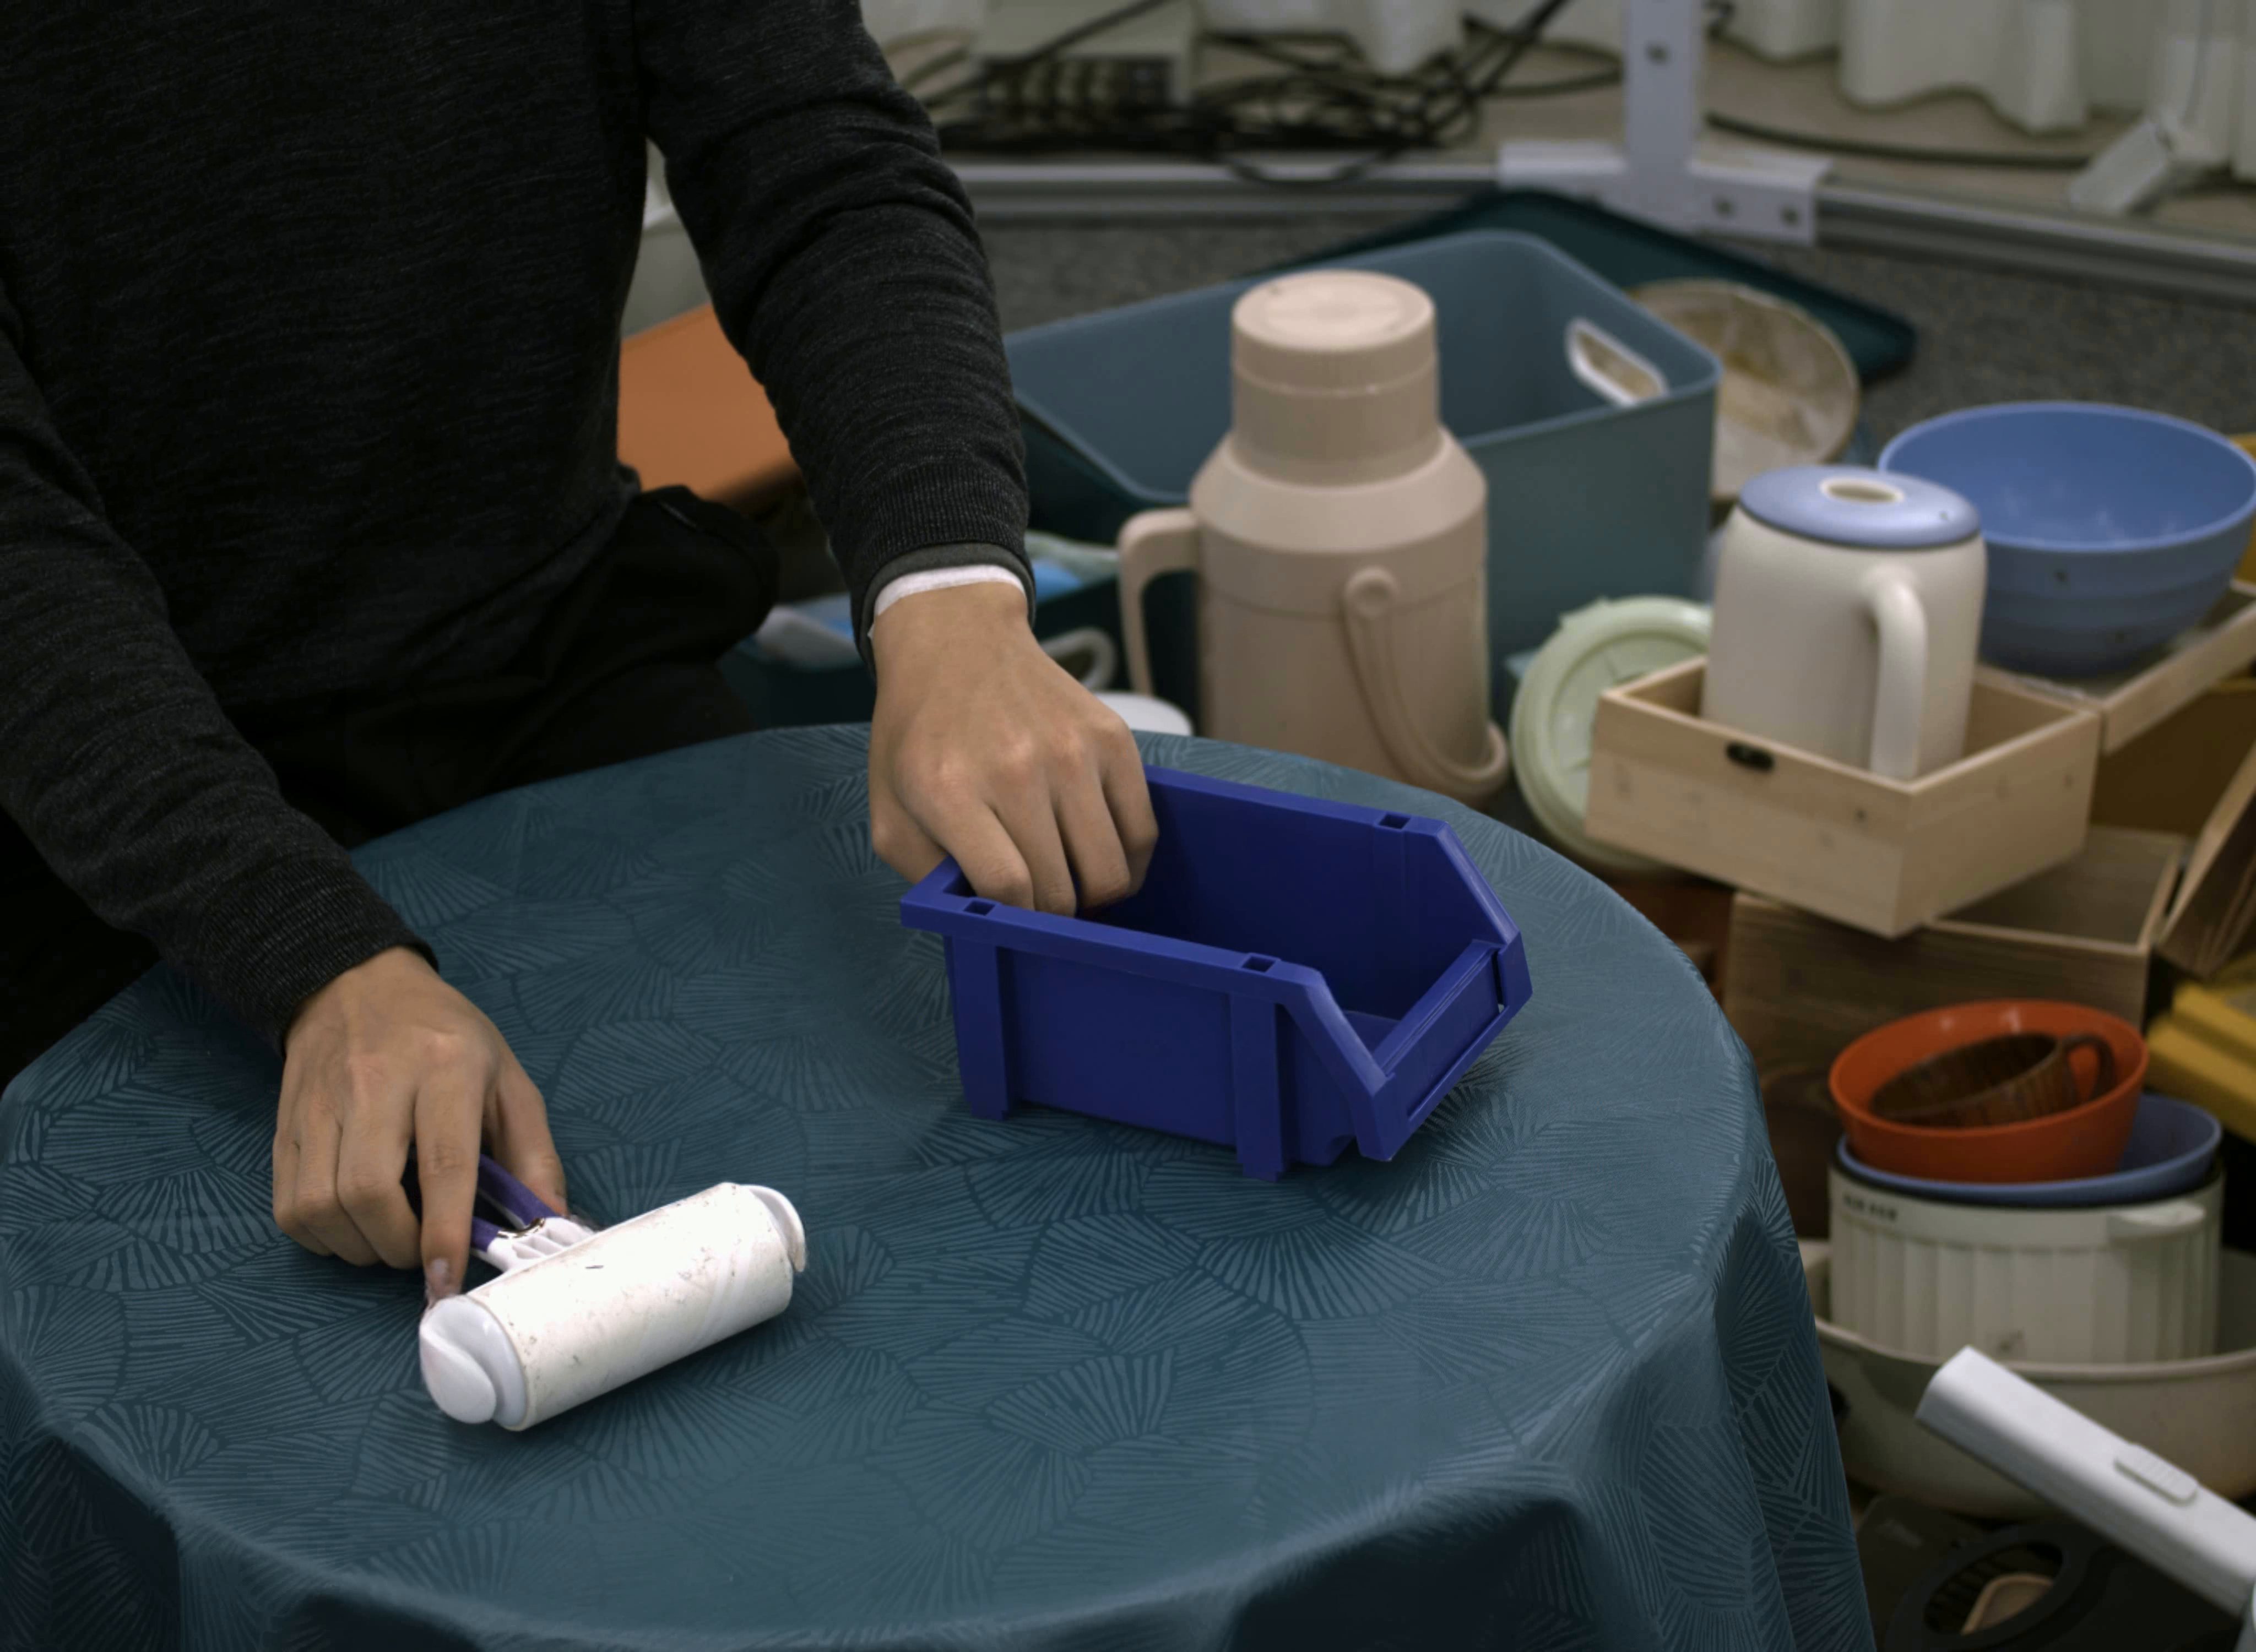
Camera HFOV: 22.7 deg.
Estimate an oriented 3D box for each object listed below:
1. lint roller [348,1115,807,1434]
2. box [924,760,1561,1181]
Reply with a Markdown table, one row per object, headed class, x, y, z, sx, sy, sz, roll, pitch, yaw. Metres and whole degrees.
| class | x | y | z | sx | sy | sz | roll | pitch | yaw |
| --- | --- | --- | --- | --- | --- | --- | --- | --- | --- |
| lint roller | -0.199 | 0.124 | 1.814 | 0.134 | 0.049 | 0.181 | -22 | 39 | -30 |
| box | 0.041 | 0.049 | 1.909 | 0.178 | 0.081 | 0.126 | 9 | 29 | 27 |
